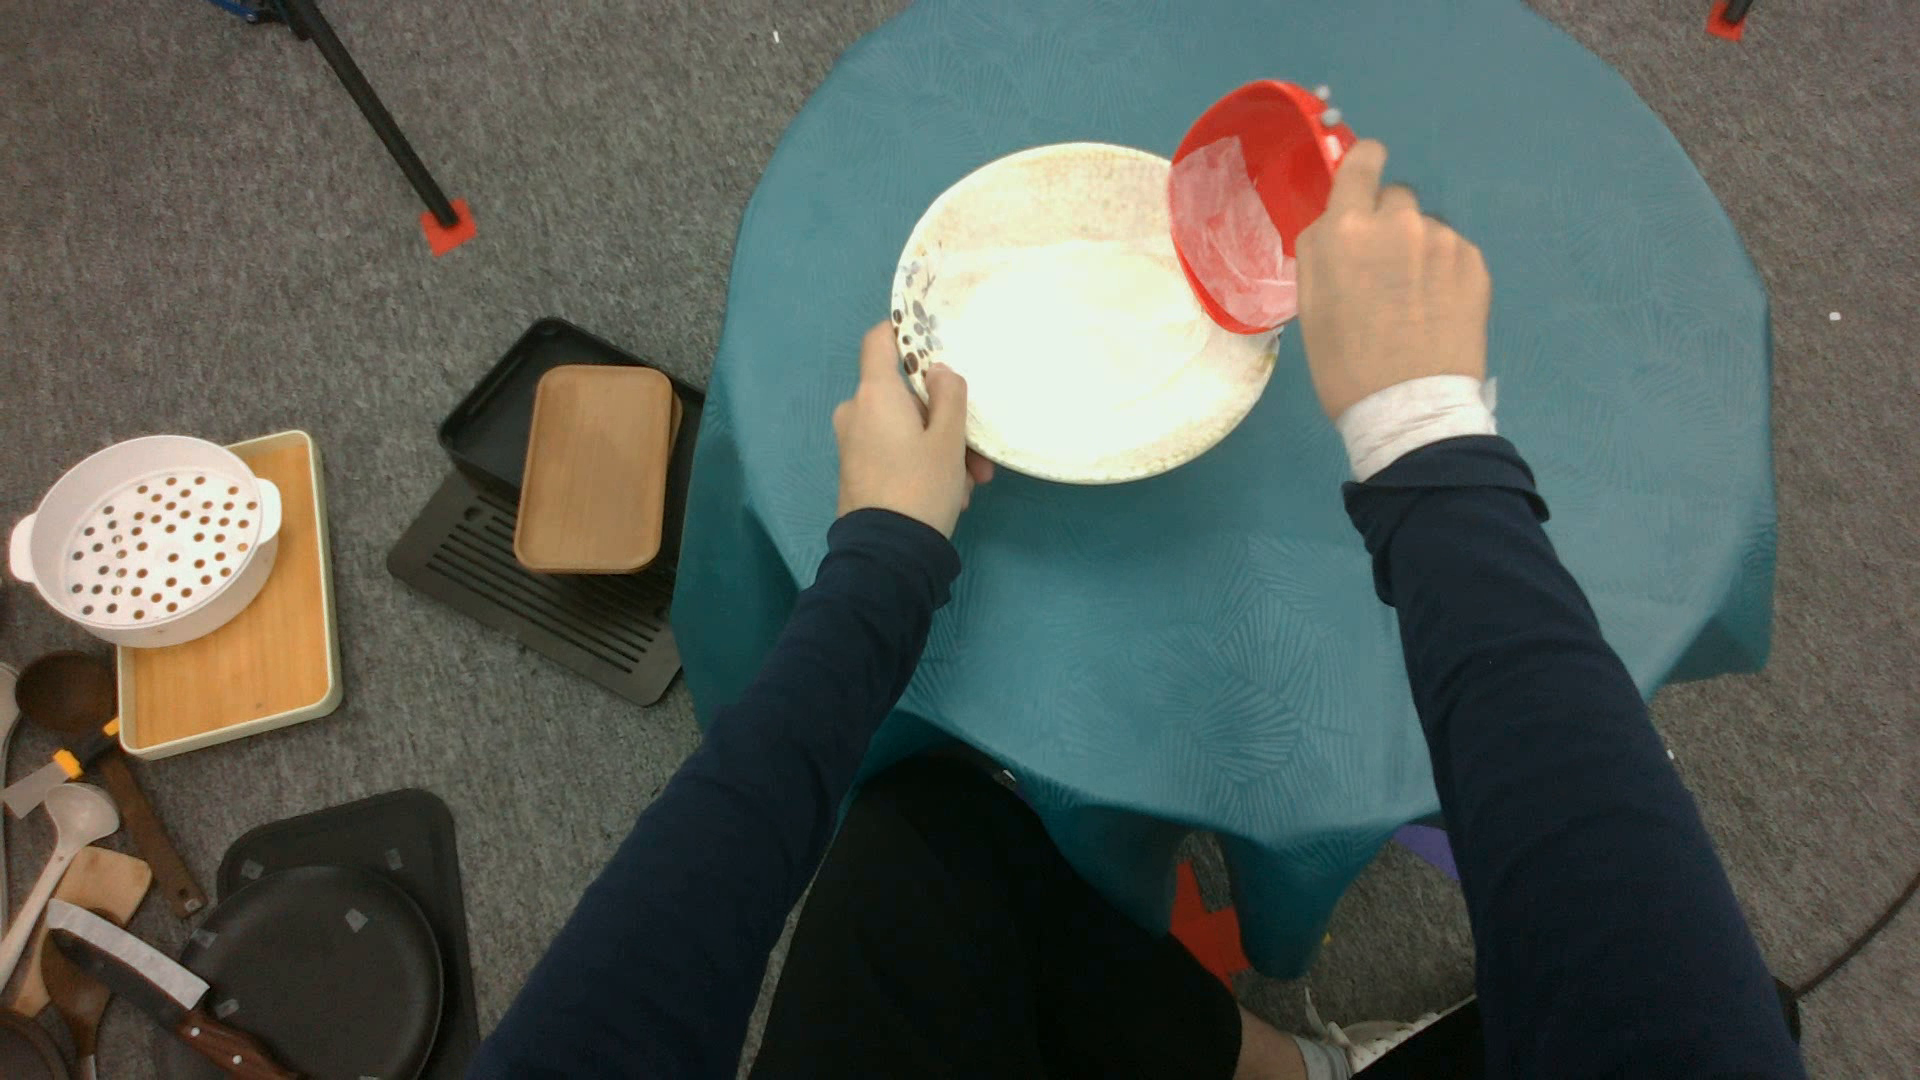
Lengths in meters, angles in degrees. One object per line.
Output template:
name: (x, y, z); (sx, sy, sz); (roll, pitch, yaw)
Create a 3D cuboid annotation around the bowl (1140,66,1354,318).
bowl: (0.145, -0.169, 0.666); (0.051, 0.118, 0.119); (-17, 67, -30)

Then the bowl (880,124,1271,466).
bowl: (0.061, -0.120, 0.751); (0.204, 0.078, 0.204); (-1, 70, 3)
